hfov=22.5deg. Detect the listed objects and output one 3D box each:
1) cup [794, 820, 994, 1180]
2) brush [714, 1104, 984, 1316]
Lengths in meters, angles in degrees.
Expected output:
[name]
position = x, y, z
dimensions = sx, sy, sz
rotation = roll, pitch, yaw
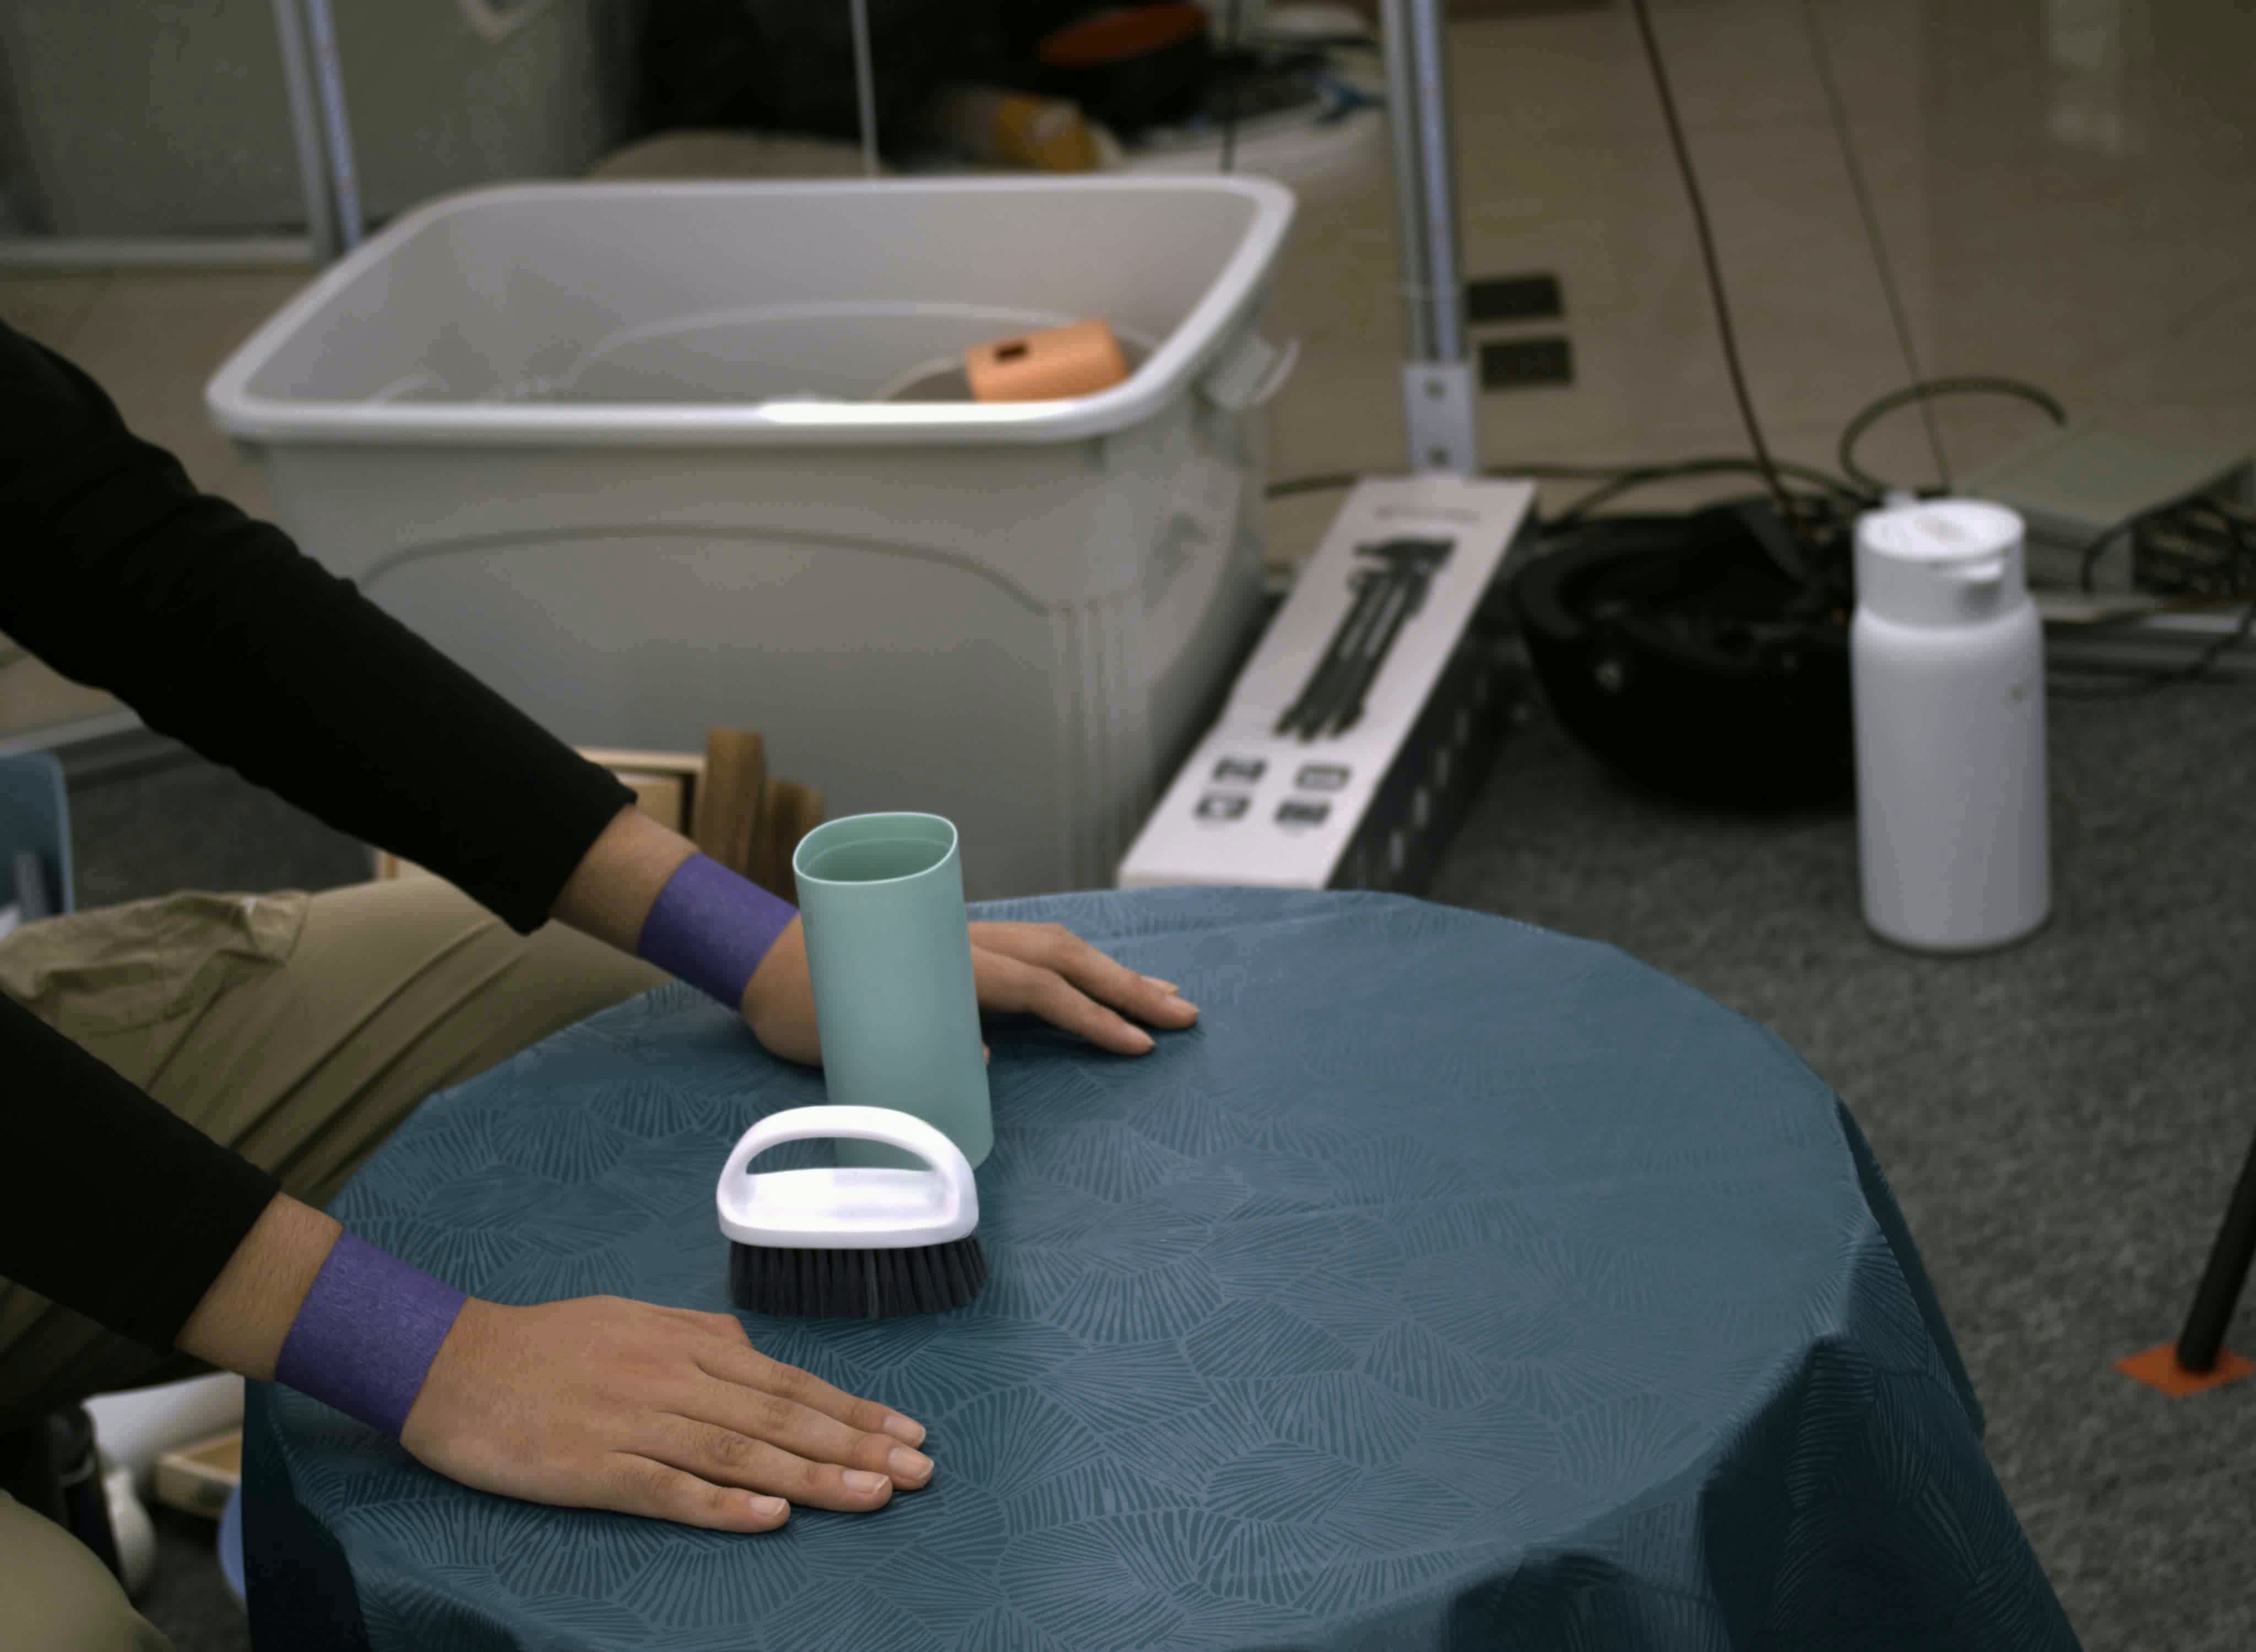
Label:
[cup]
position = -0.089, 0.070, 2.169
dimensions = 0.066, 0.134, 0.066
rotation = -5, 26, 2
[brush]
position = -0.105, 0.137, 2.087
dimensions = 0.099, 0.073, 0.049
rotation = 1, 25, 14
